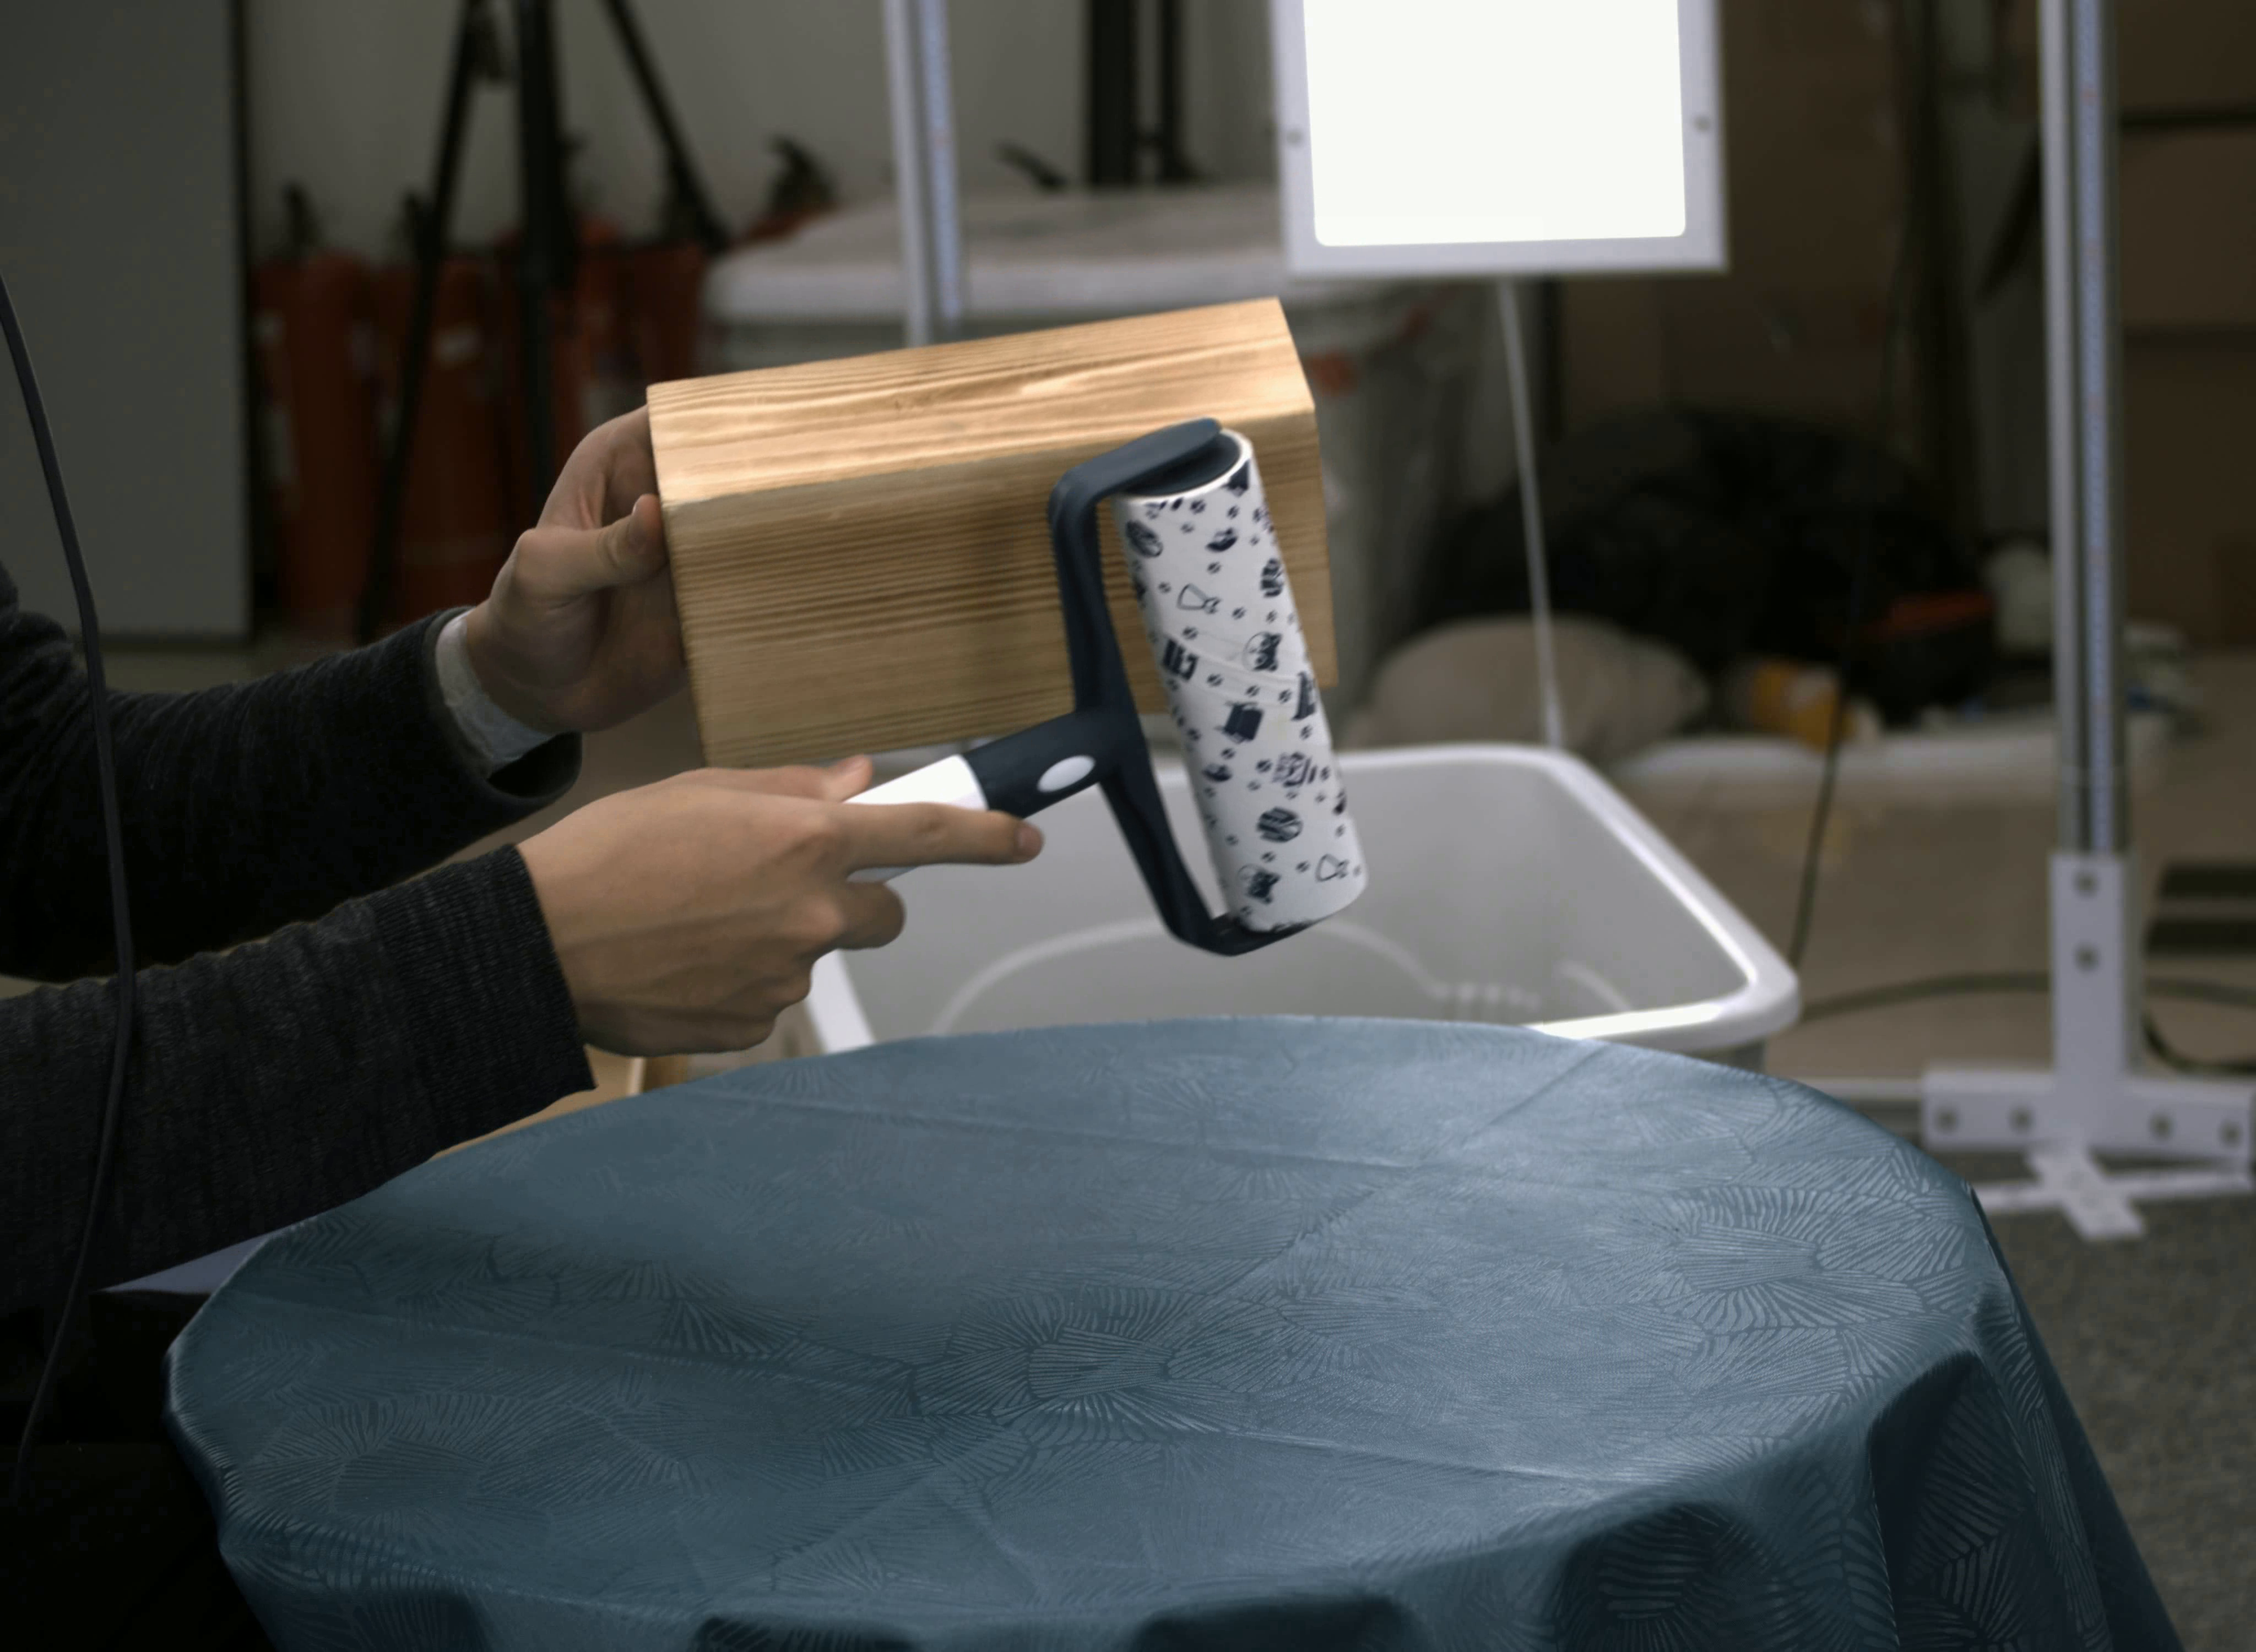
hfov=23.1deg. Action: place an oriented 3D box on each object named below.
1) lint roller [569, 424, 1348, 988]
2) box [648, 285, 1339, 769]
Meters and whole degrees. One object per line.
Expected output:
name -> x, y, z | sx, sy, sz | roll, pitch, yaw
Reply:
lint roller -> -0.056, -0.002, 1.712 | 0.244, 0.176, 0.051 | -25, 30, -12
box -> -0.044, -0.098, 1.801 | 0.210, 0.108, 0.080 | -8, 33, -2
